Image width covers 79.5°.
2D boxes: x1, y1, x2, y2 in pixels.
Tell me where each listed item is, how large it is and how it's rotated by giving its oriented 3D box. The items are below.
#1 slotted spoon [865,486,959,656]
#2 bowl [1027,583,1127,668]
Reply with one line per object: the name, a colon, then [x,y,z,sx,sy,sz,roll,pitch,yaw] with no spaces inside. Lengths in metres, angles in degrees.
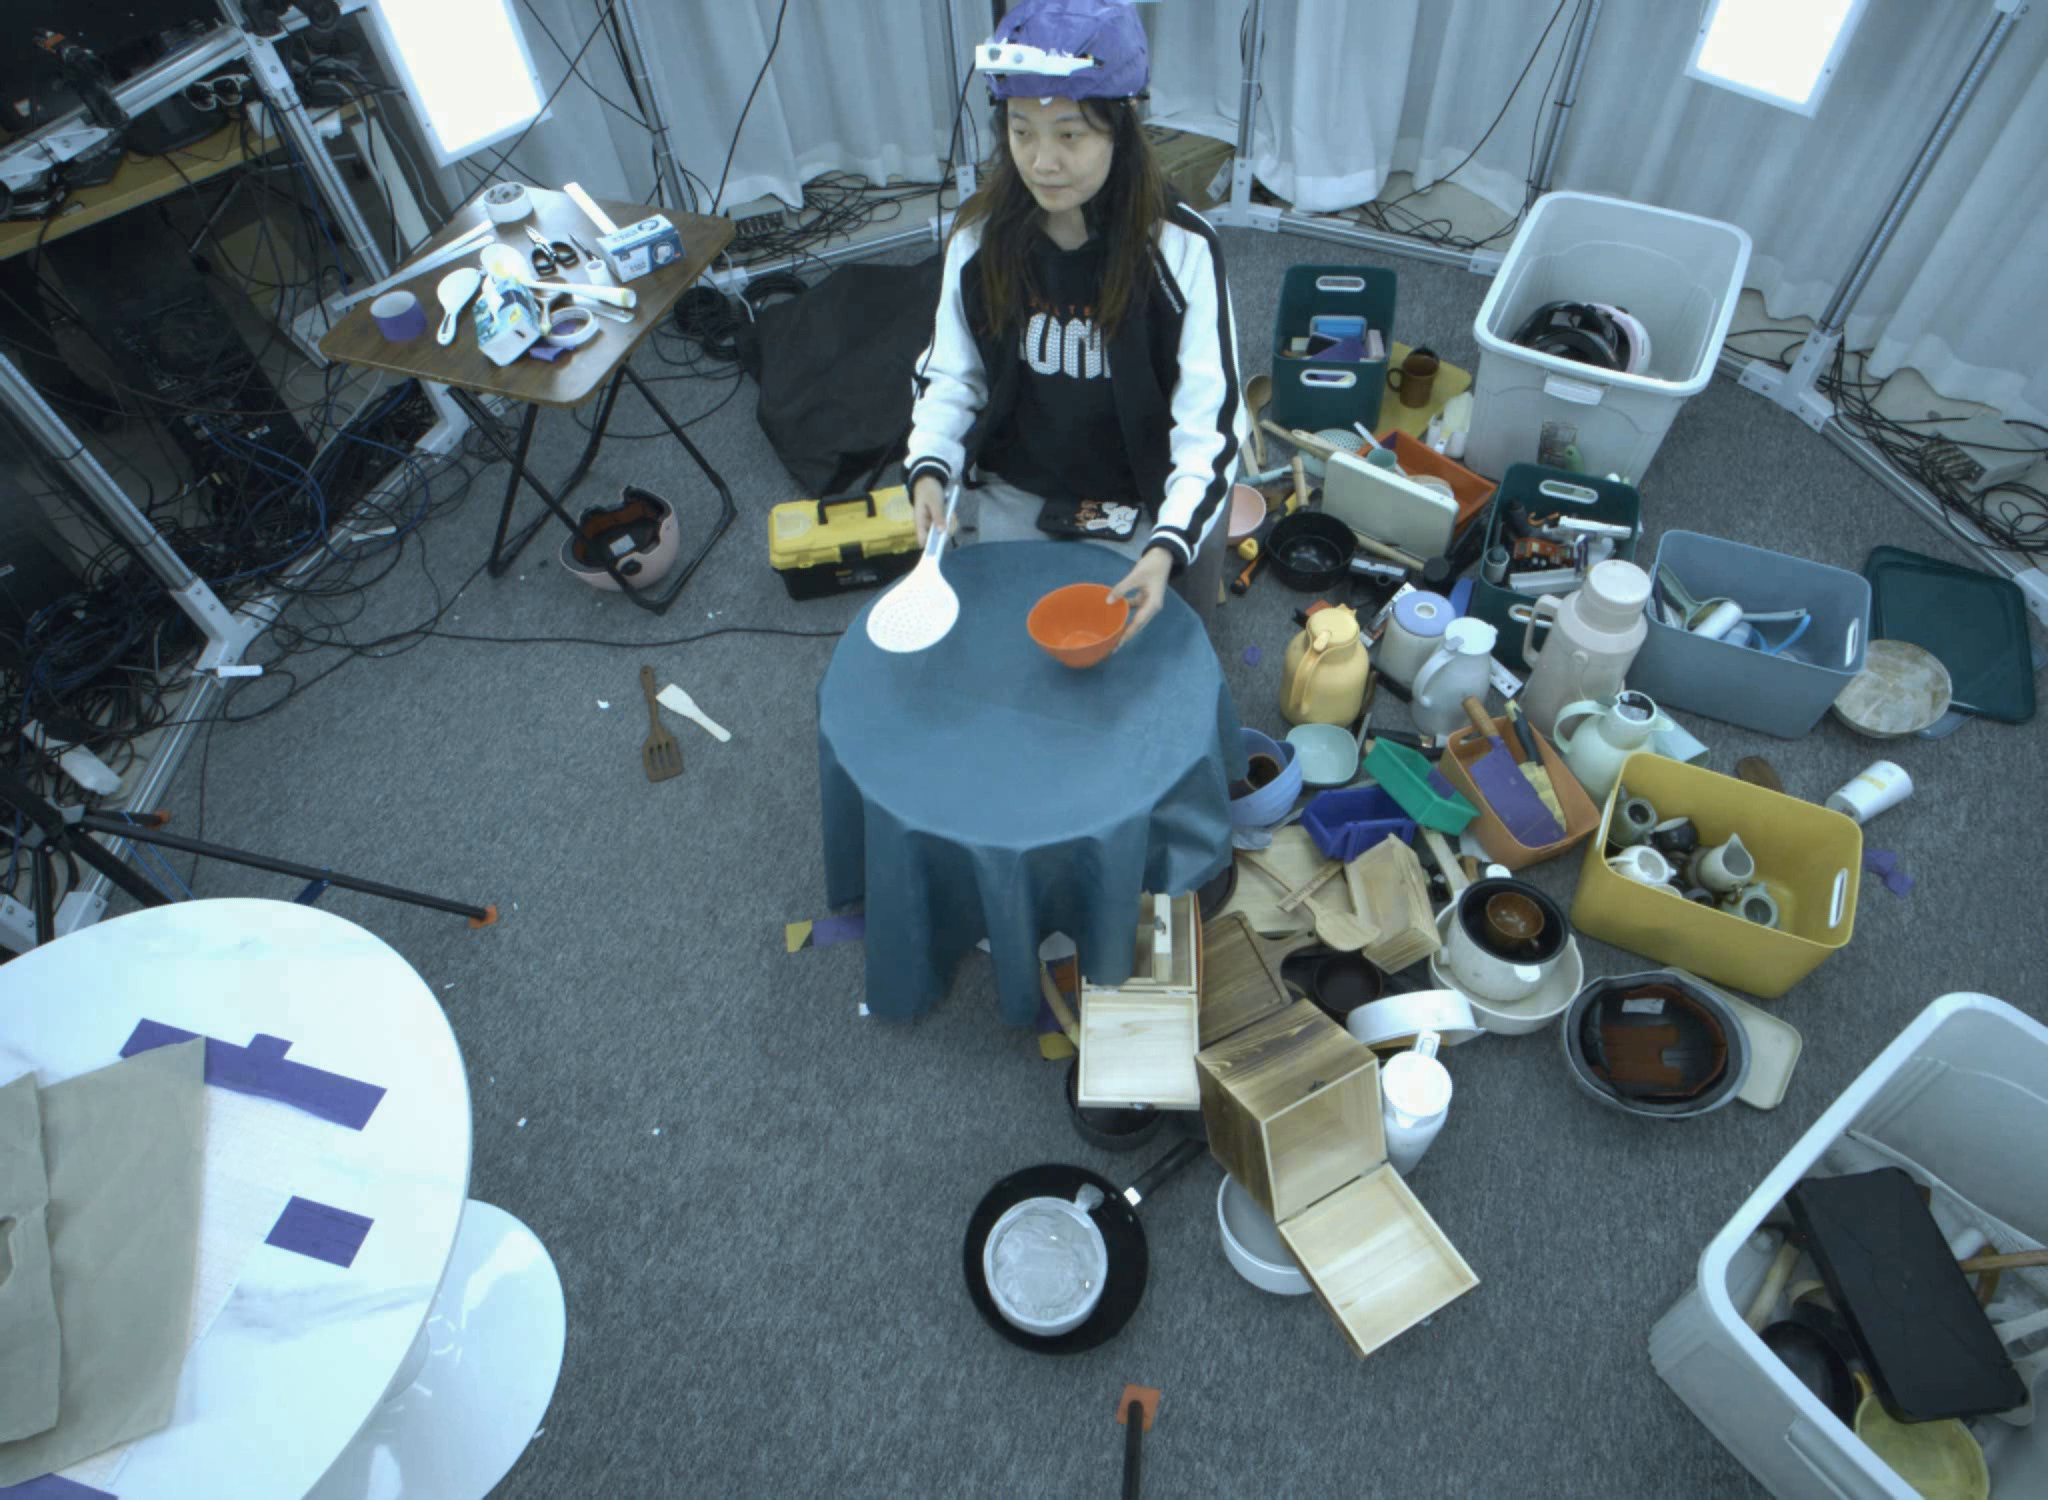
slotted spoon: [-0.146,-0.272,1.829,0.135,0.046,0.347,1,59,14]
bowl: [0.084,-0.169,1.807,0.147,0.106,0.146,-5,54,9]
